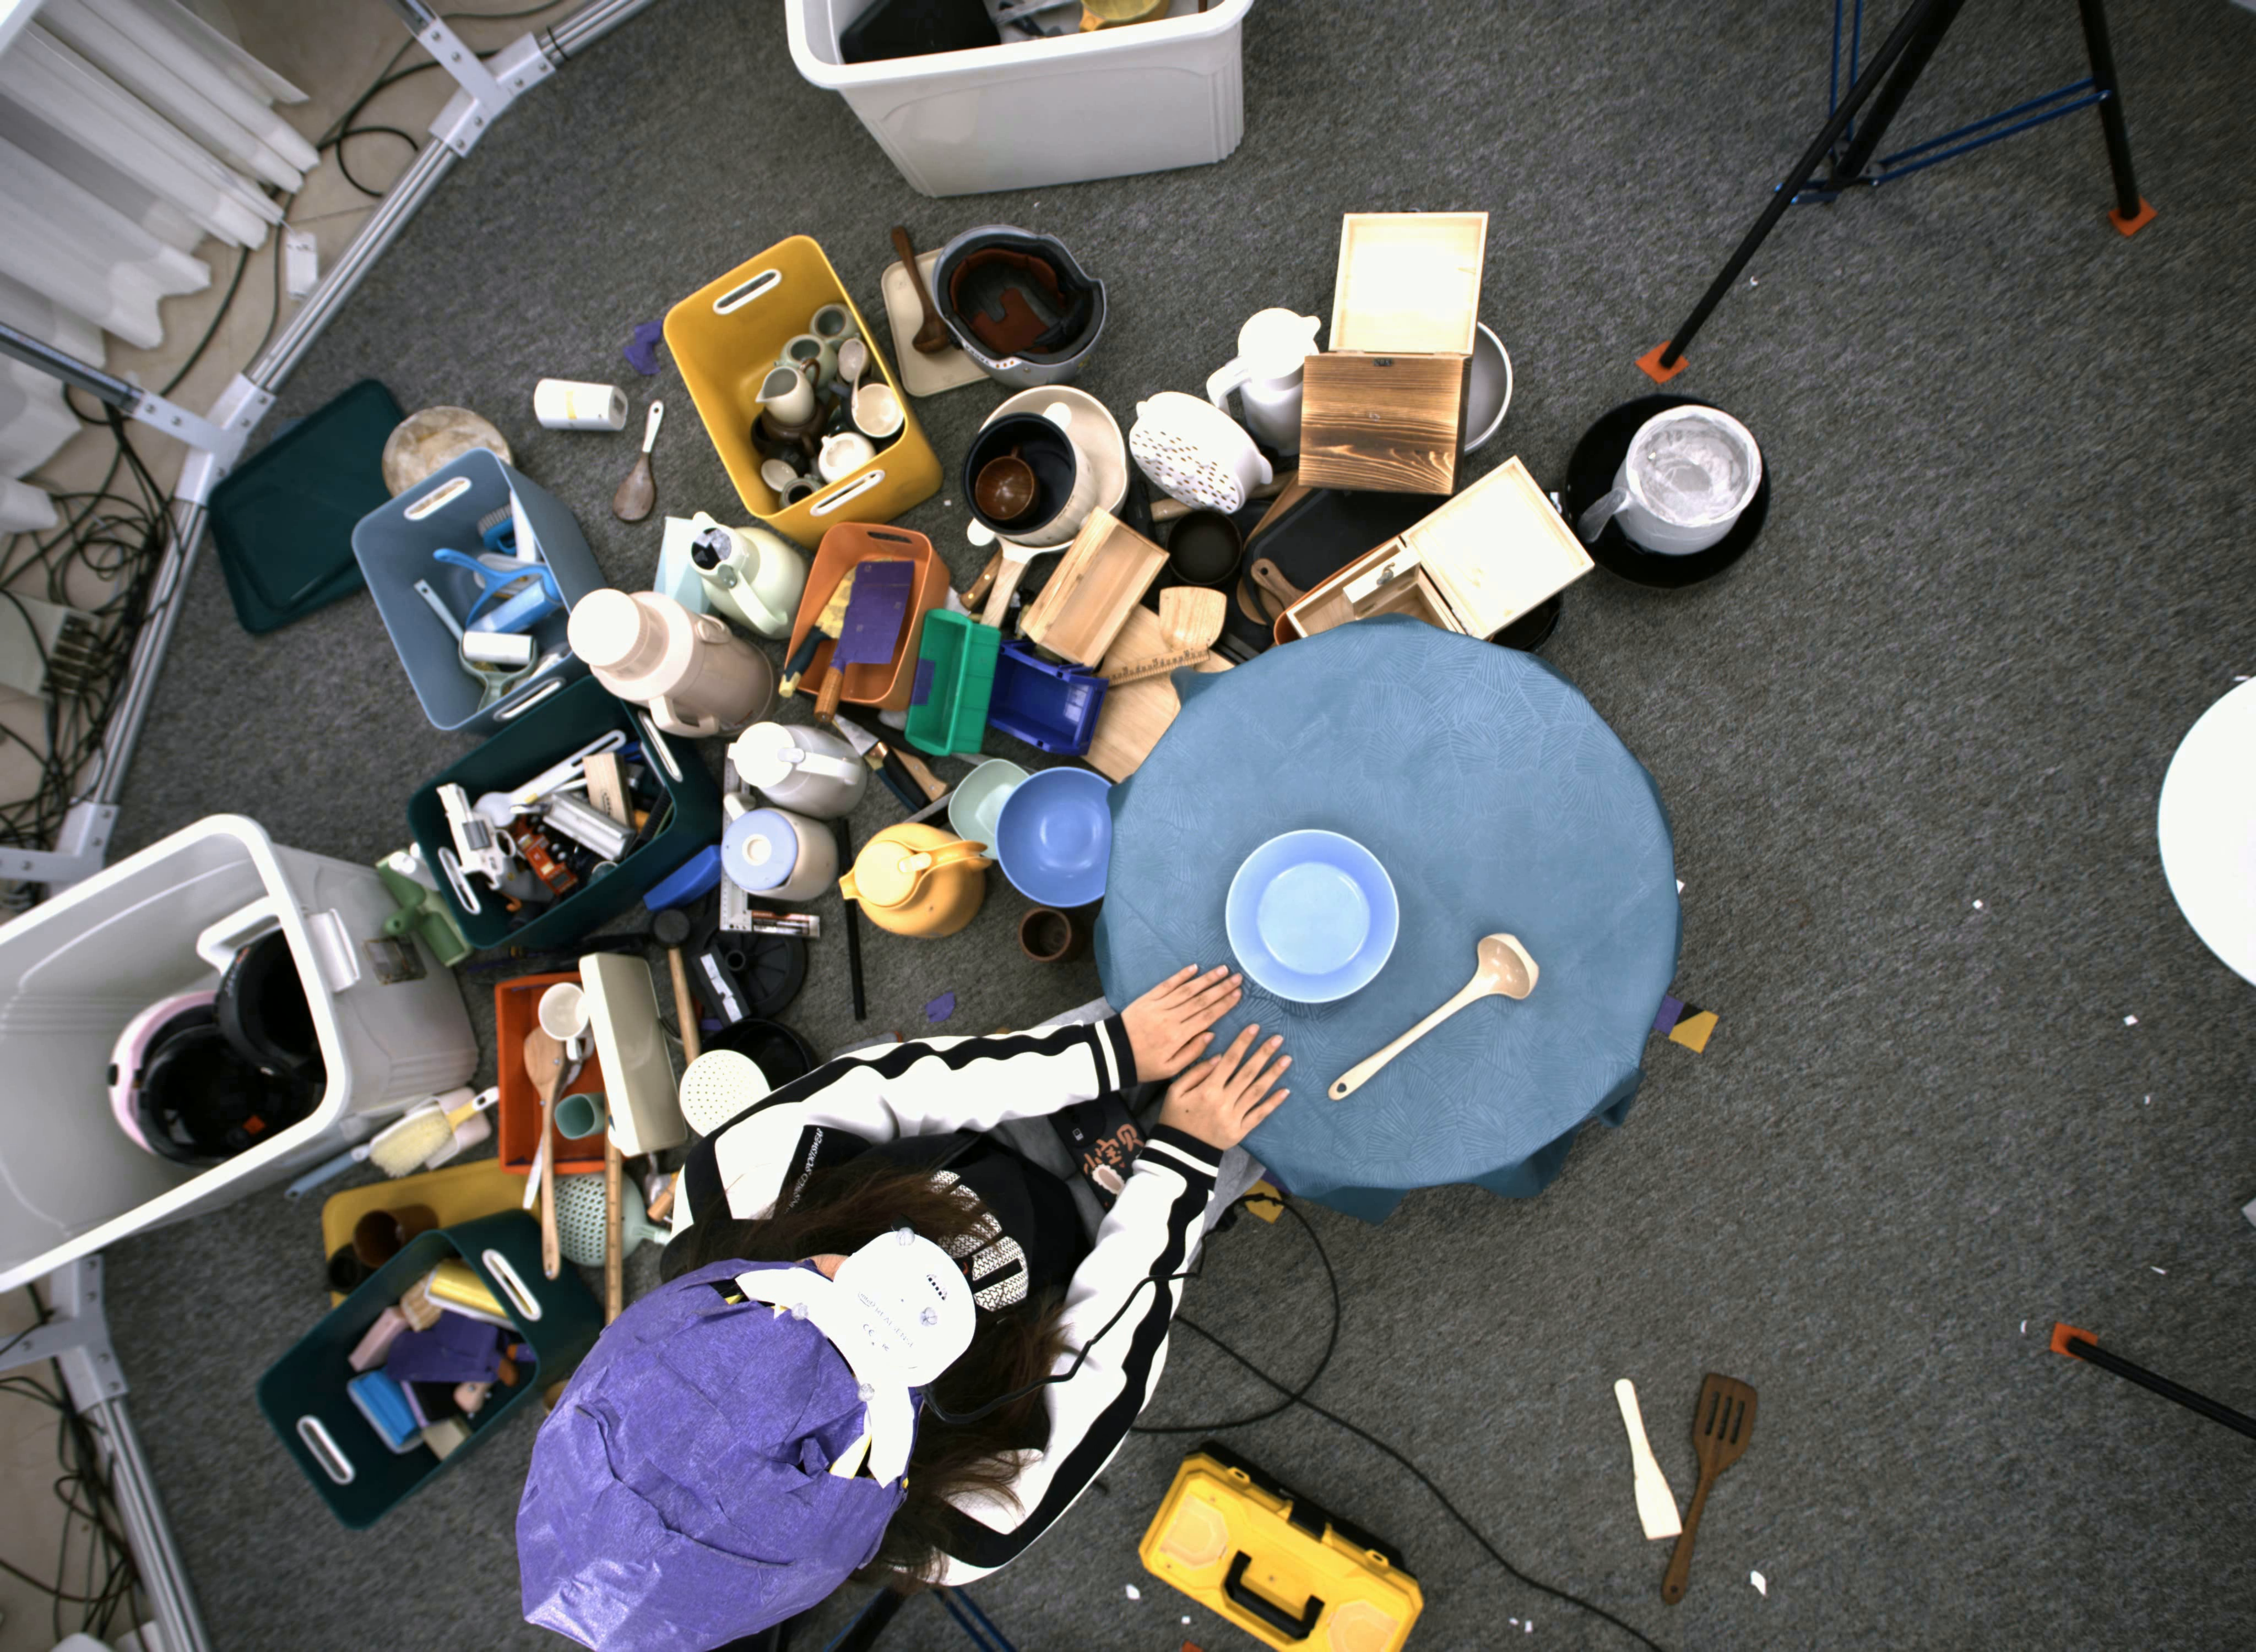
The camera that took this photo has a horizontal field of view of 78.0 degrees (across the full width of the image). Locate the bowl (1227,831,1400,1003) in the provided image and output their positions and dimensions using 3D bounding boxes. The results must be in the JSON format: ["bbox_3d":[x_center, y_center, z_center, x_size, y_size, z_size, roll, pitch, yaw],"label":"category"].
[{"bbox_3d":[0.193,0.095,1.438,0.177,0.070,0.175,-1,85,11],"label":"bowl"}]

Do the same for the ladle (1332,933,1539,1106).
[{"bbox_3d":[0.307,0.203,1.409,0.255,0.073,0.071,-39,76,6],"label":"ladle"}]
